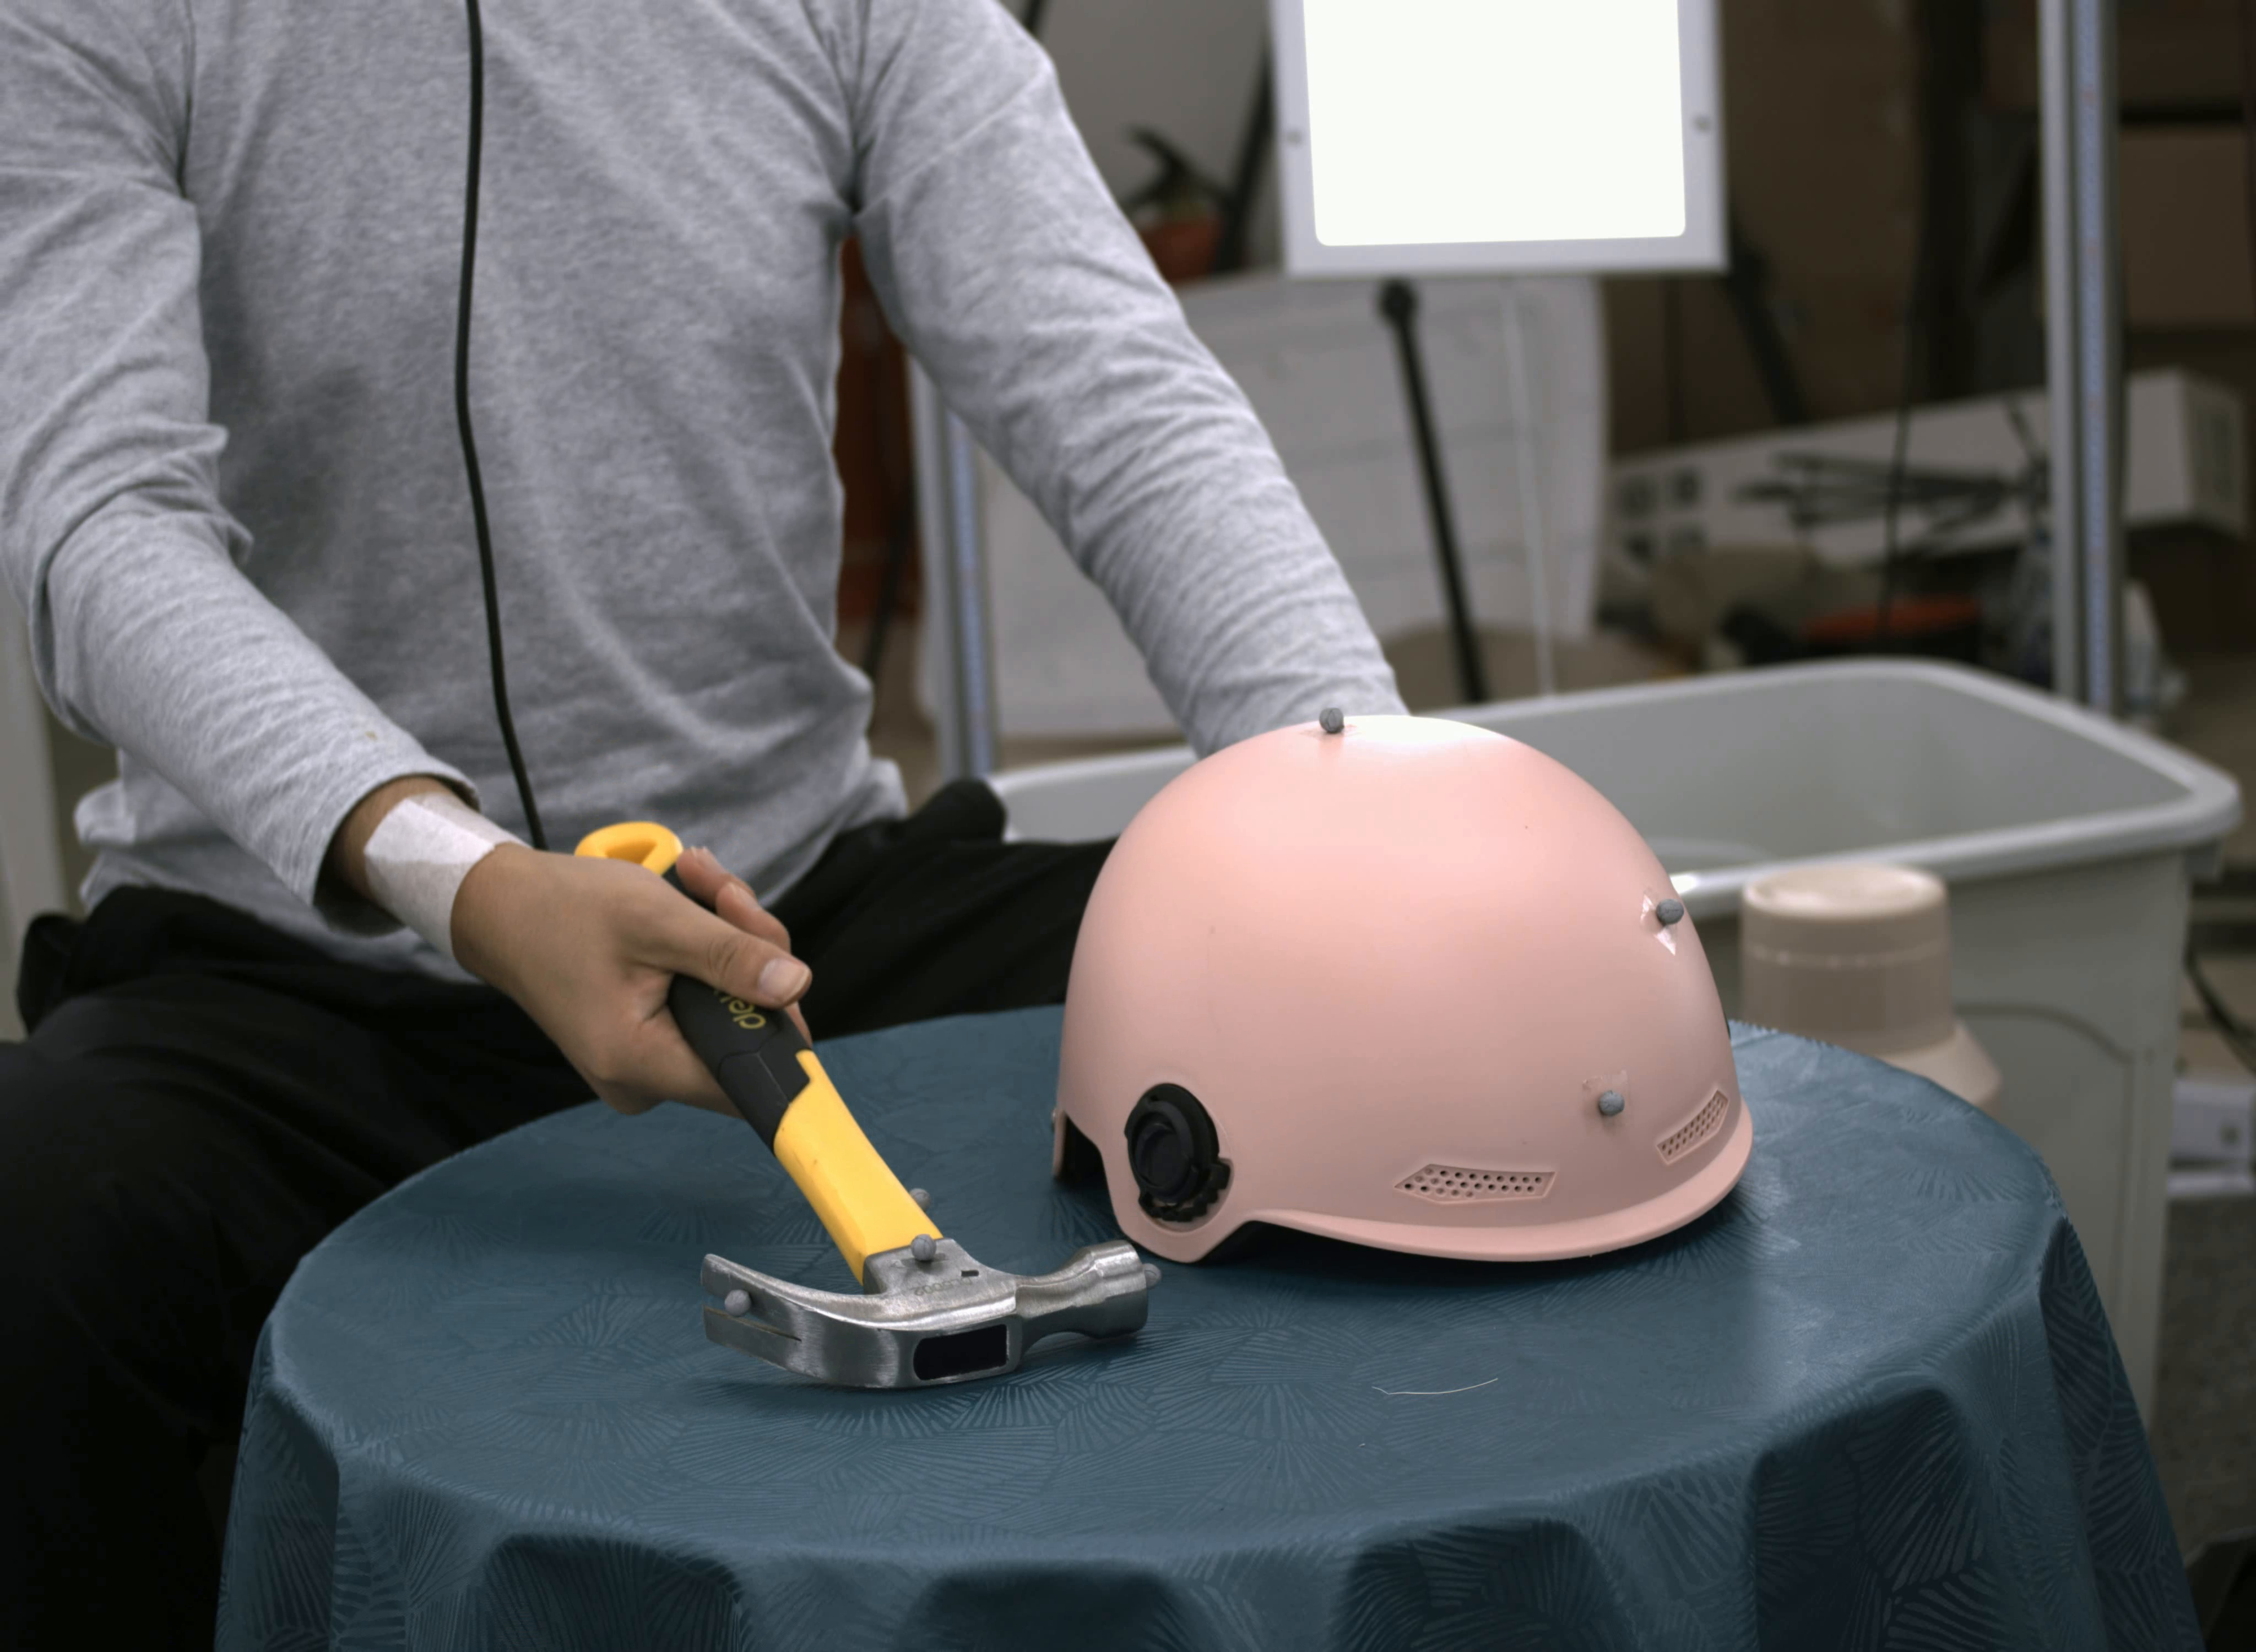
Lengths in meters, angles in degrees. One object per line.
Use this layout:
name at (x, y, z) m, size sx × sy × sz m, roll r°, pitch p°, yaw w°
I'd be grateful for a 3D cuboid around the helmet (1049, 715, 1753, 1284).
helmet at (0.091, 0.048, 1.867) m, size 0.229 × 0.159 × 0.270 m, roll -12°, pitch 19°, yaw -28°

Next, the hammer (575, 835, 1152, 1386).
hammer at (-0.116, 0.087, 1.851) m, size 0.129 × 0.032 × 0.342 m, roll -13°, pitch 31°, yaw -19°
